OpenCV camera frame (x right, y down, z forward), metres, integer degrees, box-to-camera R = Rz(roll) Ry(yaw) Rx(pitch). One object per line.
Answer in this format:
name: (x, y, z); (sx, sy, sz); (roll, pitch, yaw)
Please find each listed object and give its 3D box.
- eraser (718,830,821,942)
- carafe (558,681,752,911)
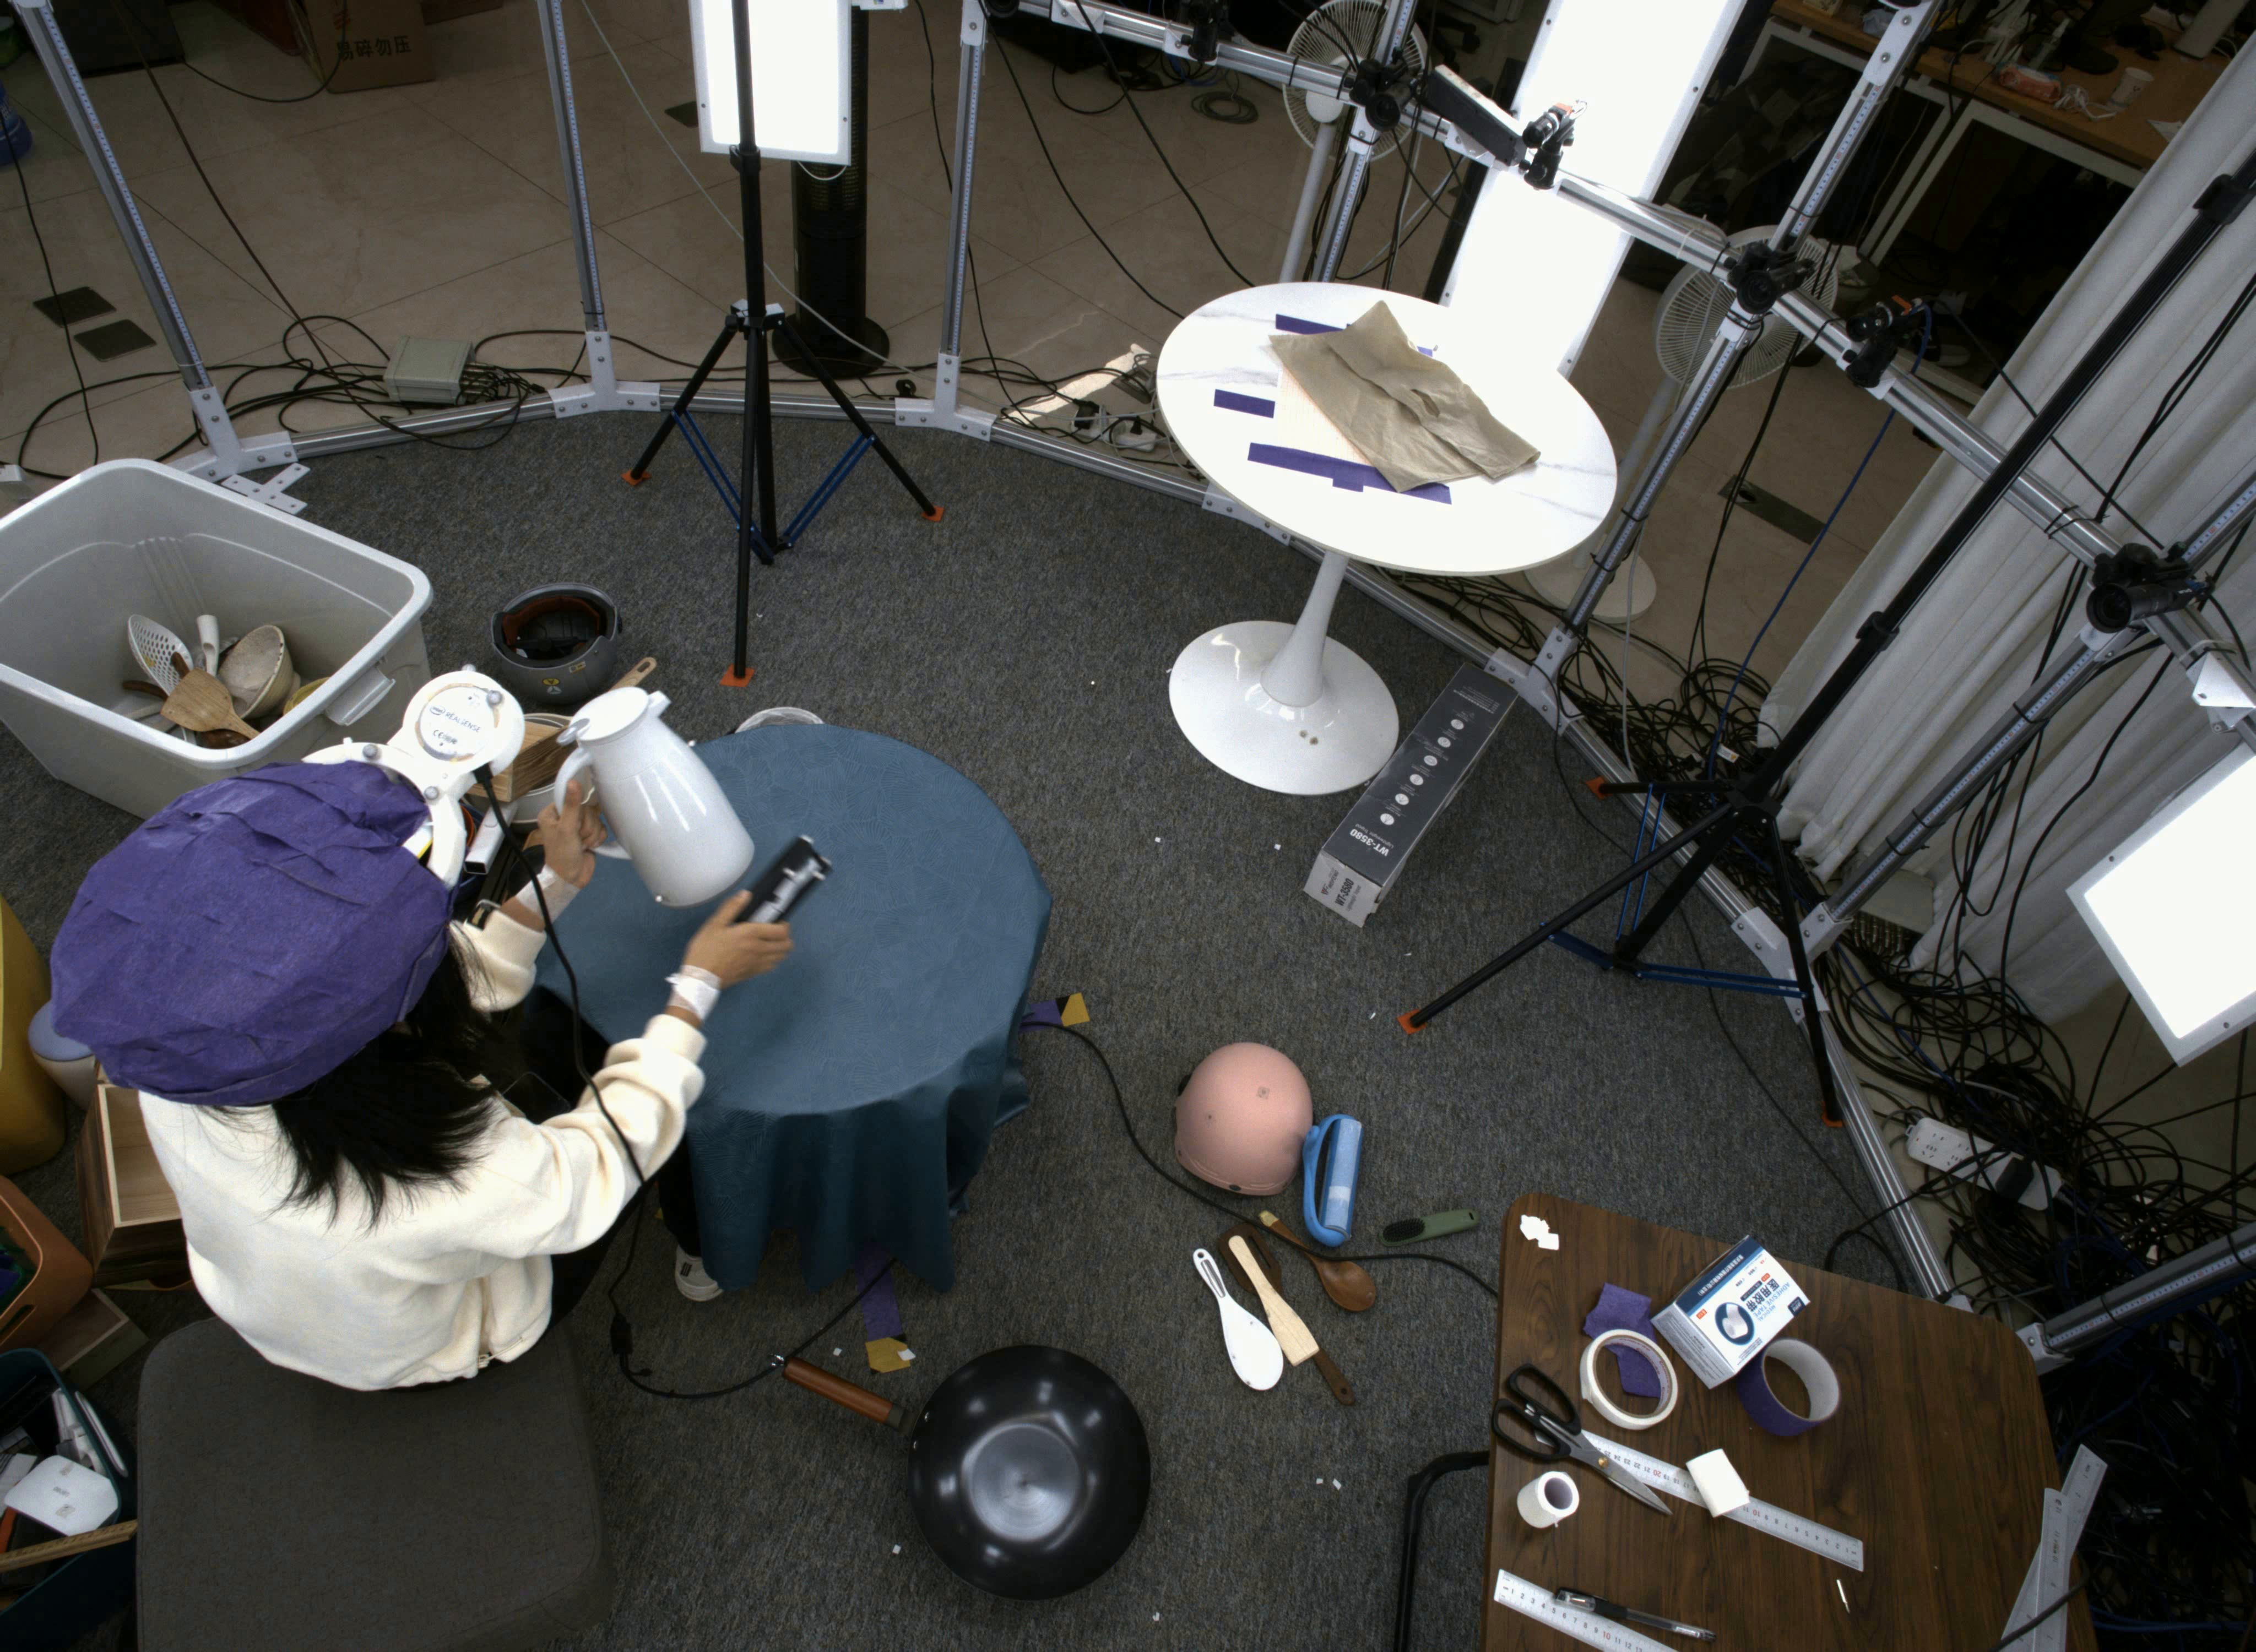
eraser: (-0.412, 0.065, 1.488); (0.029, 0.055, 0.125); (7, 54, 46)
carafe: (-0.548, -0.029, 1.428); (0.168, 0.258, 0.127); (-40, 45, -22)
